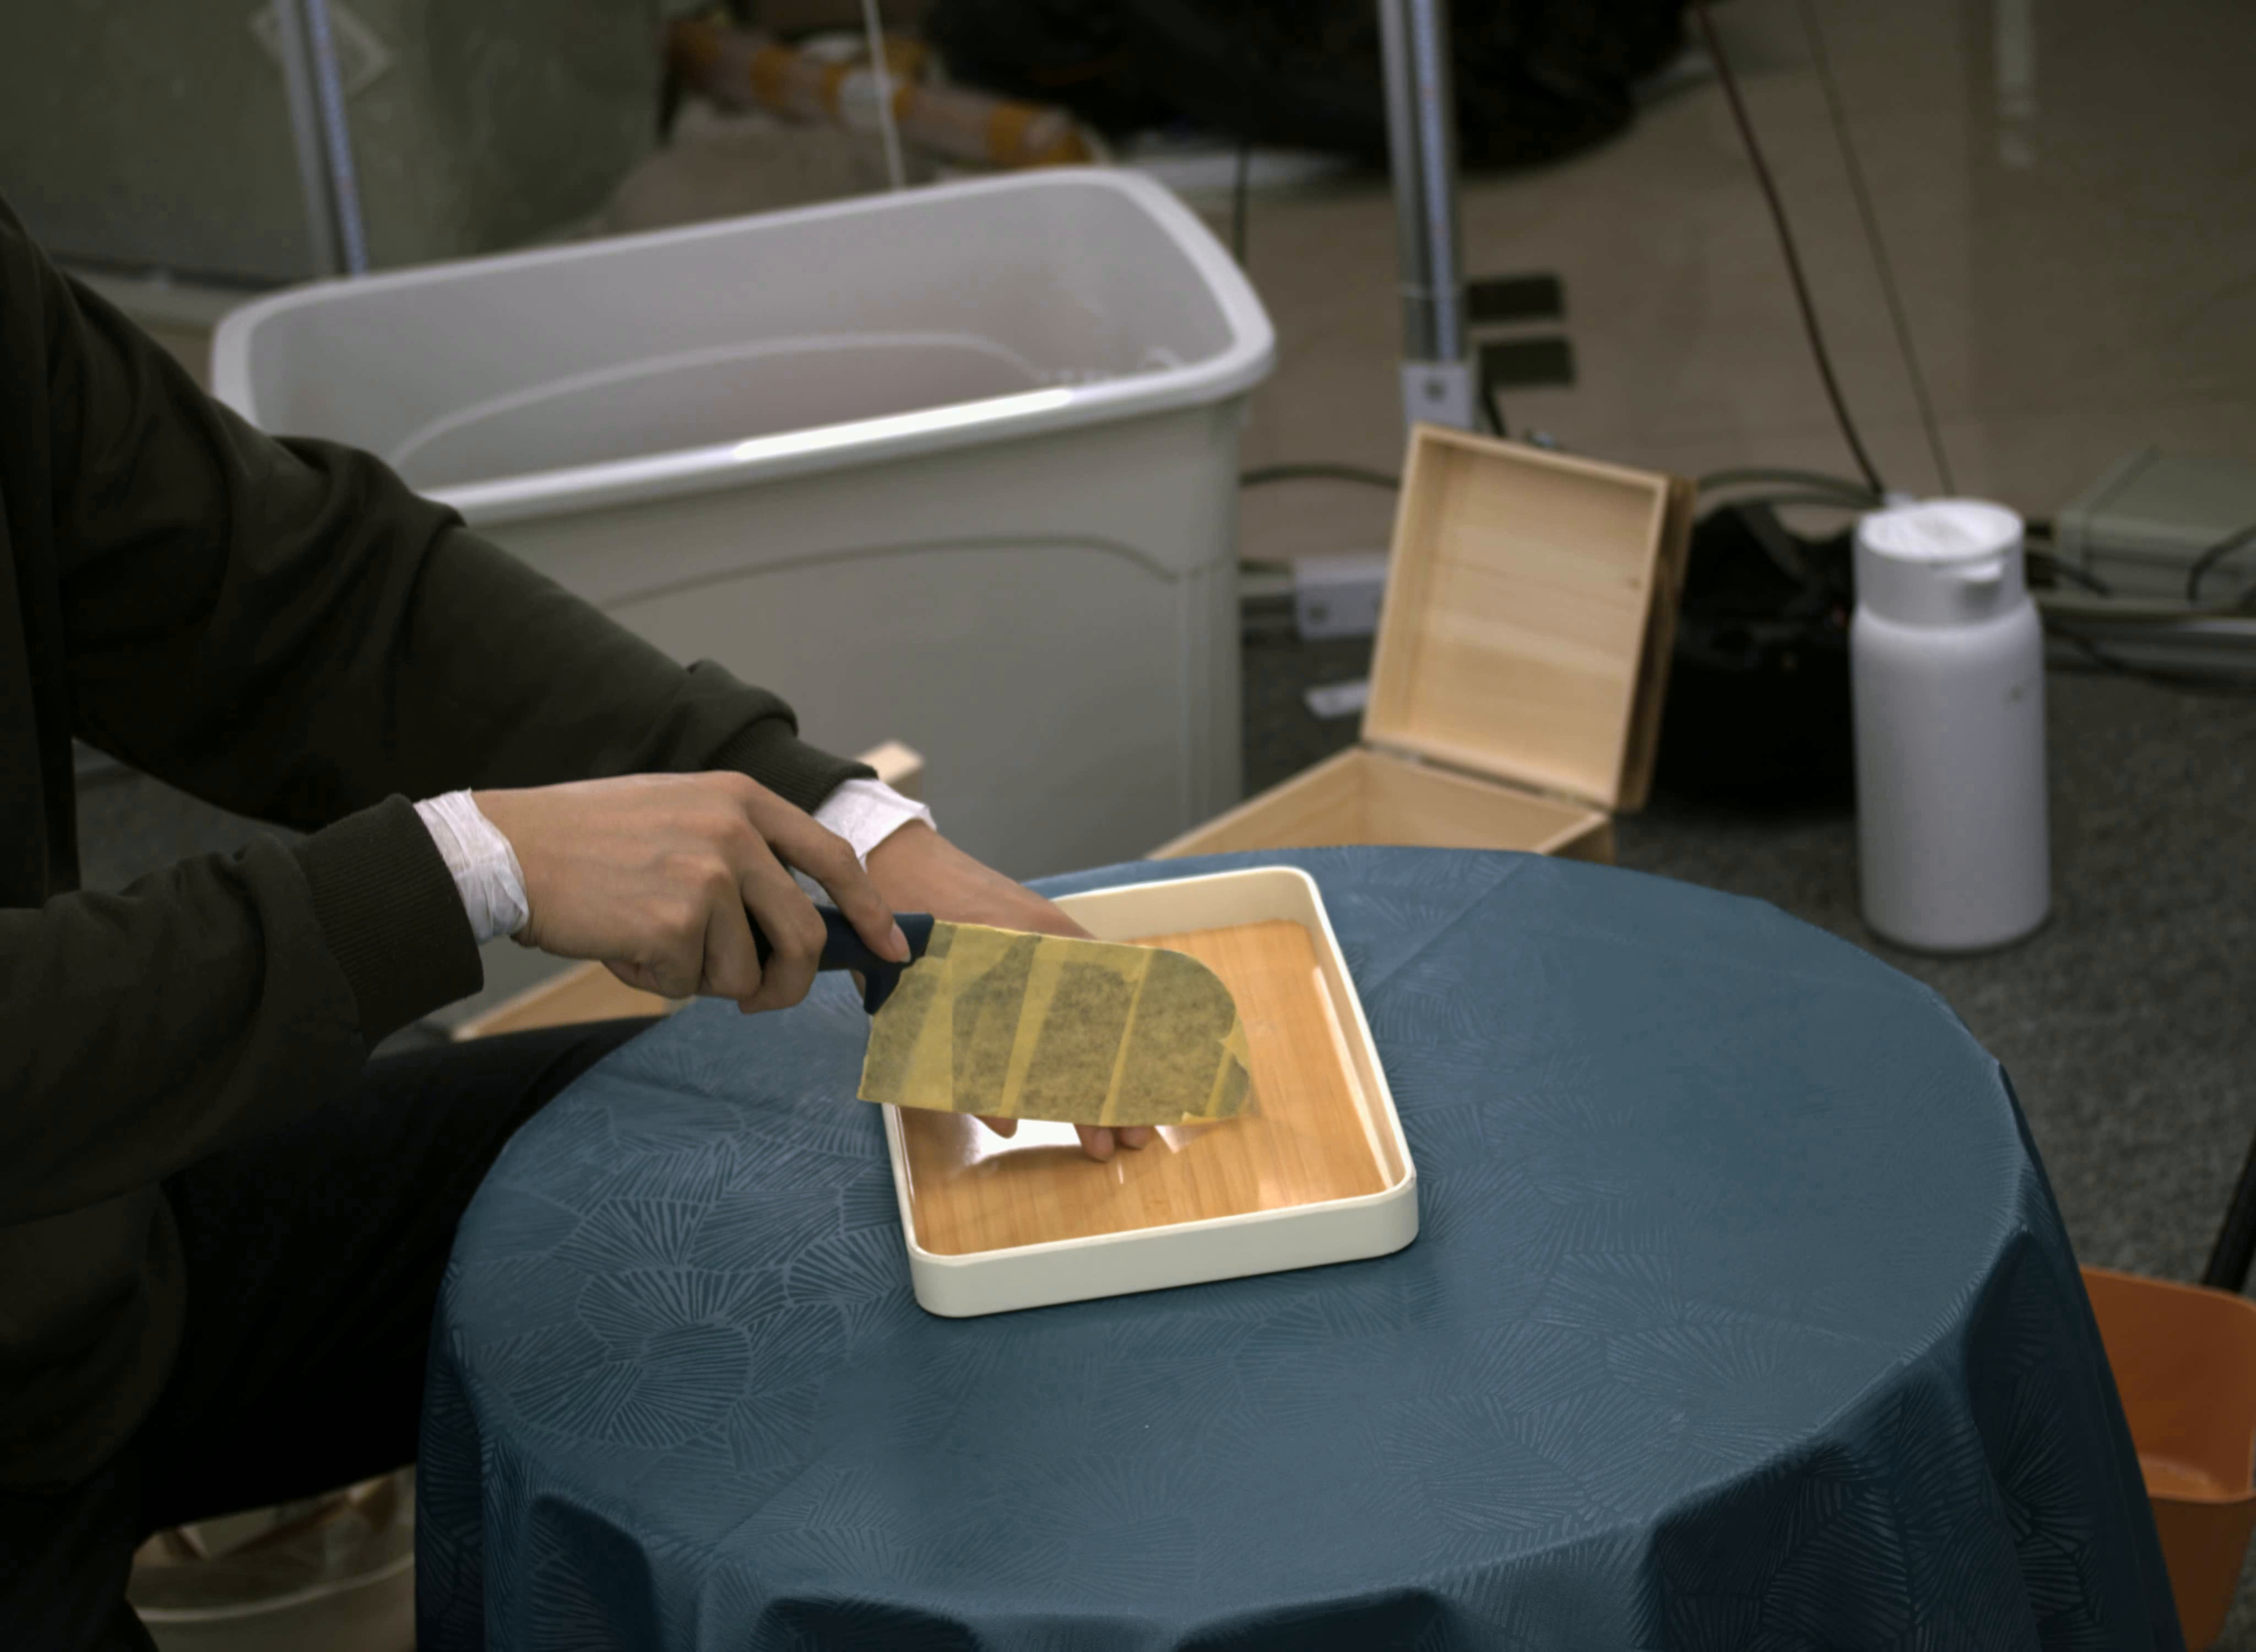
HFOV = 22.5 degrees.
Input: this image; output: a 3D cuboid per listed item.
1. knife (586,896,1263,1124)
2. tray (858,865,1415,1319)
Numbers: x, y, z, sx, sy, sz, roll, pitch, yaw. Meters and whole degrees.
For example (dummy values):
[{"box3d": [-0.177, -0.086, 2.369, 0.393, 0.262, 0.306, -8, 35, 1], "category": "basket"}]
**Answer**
[{"box3d": [-0.072, 0.069, 2.105, 0.290, 0.081, 0.027, 11, 10, -30], "category": "knife"}, {"box3d": [-0.002, 0.099, 2.207, 0.191, 0.028, 0.296, -9, 24, -3], "category": "tray"}]
